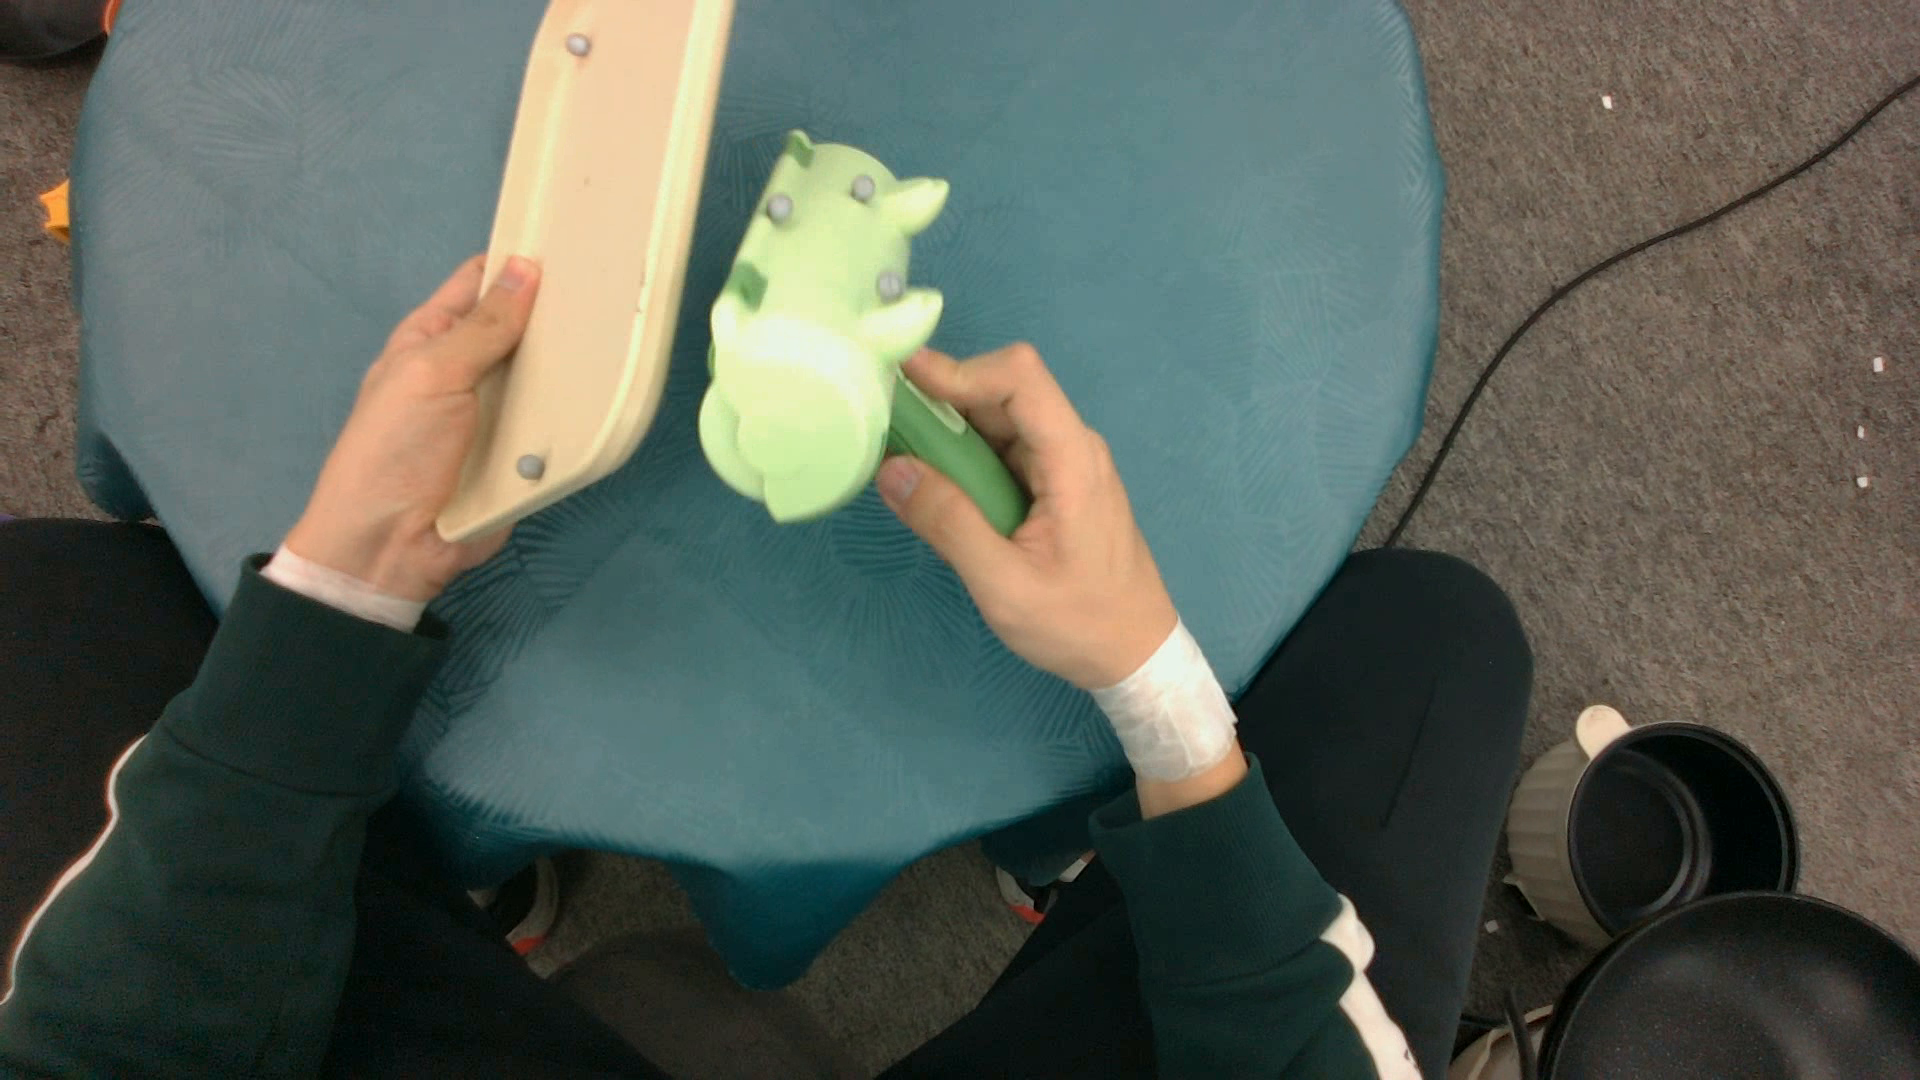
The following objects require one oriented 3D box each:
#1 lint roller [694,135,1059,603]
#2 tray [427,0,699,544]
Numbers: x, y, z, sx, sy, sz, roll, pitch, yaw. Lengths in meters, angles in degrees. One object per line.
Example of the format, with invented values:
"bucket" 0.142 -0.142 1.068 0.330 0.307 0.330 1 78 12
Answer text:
"lint roller" -0.008 -0.053 0.487 0.183 0.199 0.082 40 112 -22
"tray" -0.136 -0.122 0.478 0.017 0.170 0.240 15 70 -35
